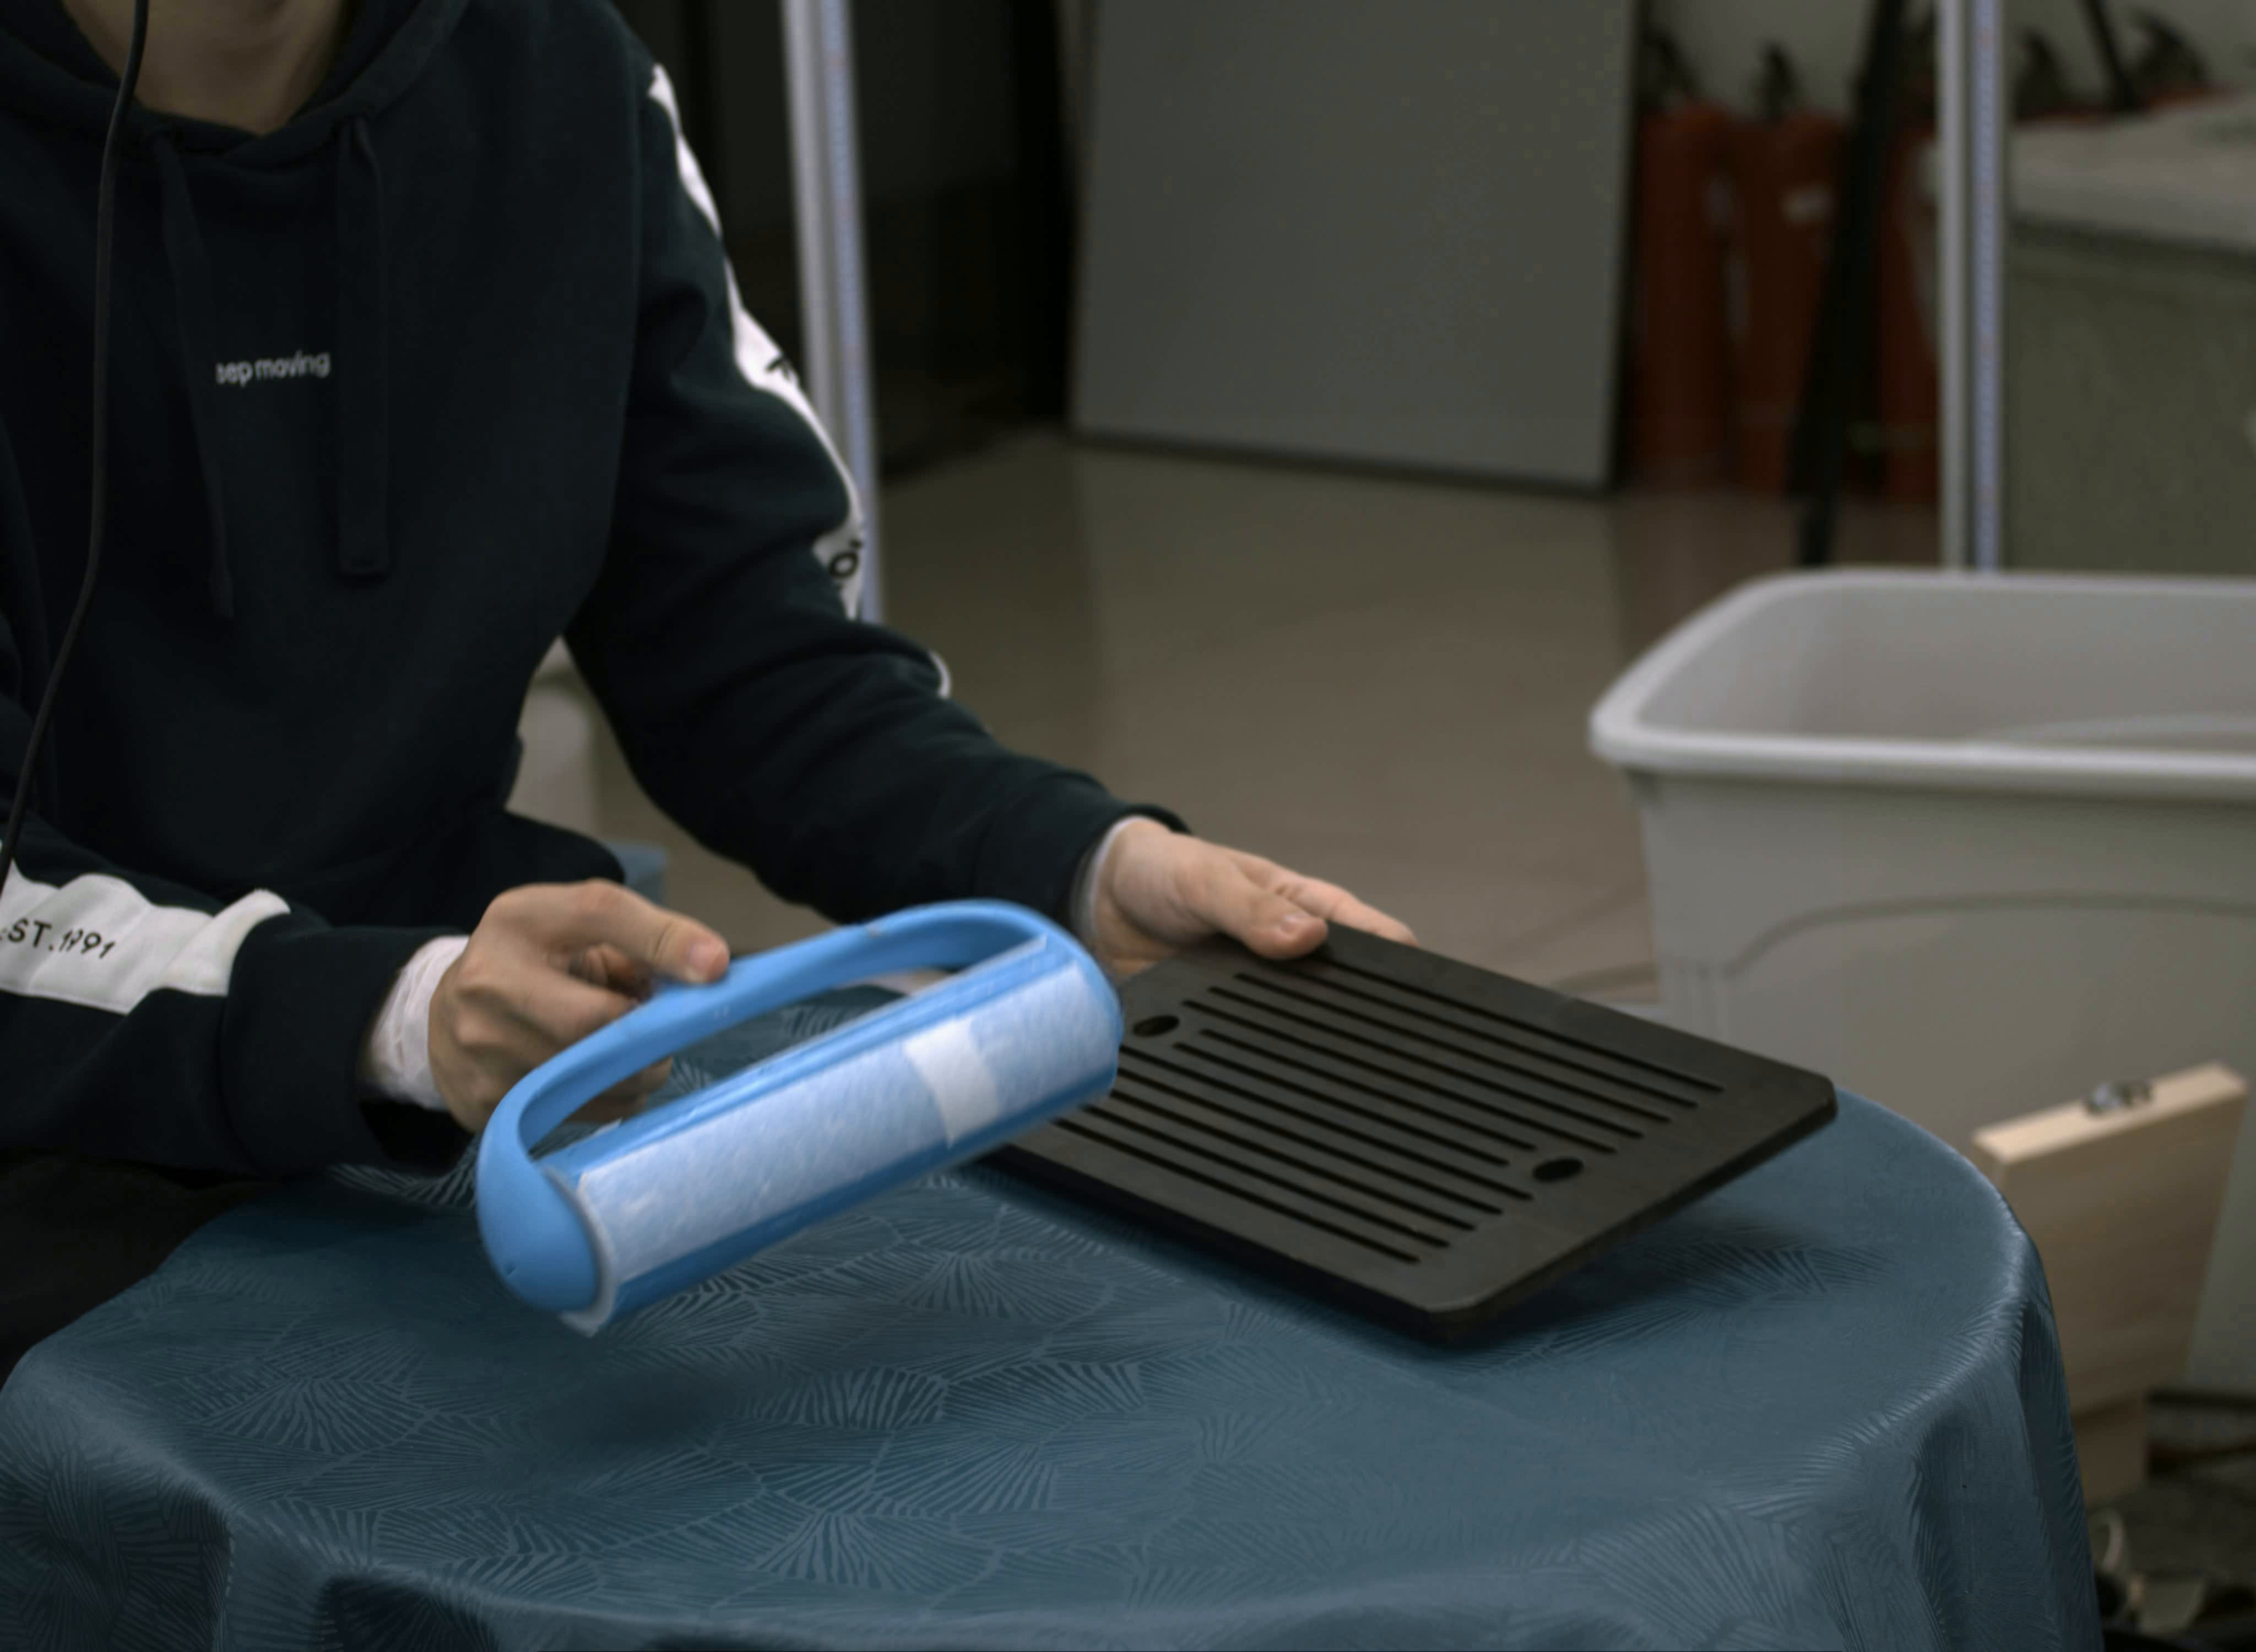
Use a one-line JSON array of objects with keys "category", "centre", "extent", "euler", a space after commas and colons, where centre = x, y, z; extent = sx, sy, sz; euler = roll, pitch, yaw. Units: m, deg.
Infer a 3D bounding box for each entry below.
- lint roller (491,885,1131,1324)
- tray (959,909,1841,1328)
[{"category": "lint roller", "centre": [-0.129, 0.073, 1.655], "extent": [0.225, 0.068, 0.182], "euler": [-28, 29, -35]}, {"category": "tray", "centre": [0.076, 0.091, 1.753], "extent": [0.167, 0.019, 0.309], "euler": [-27, 23, -28]}]
